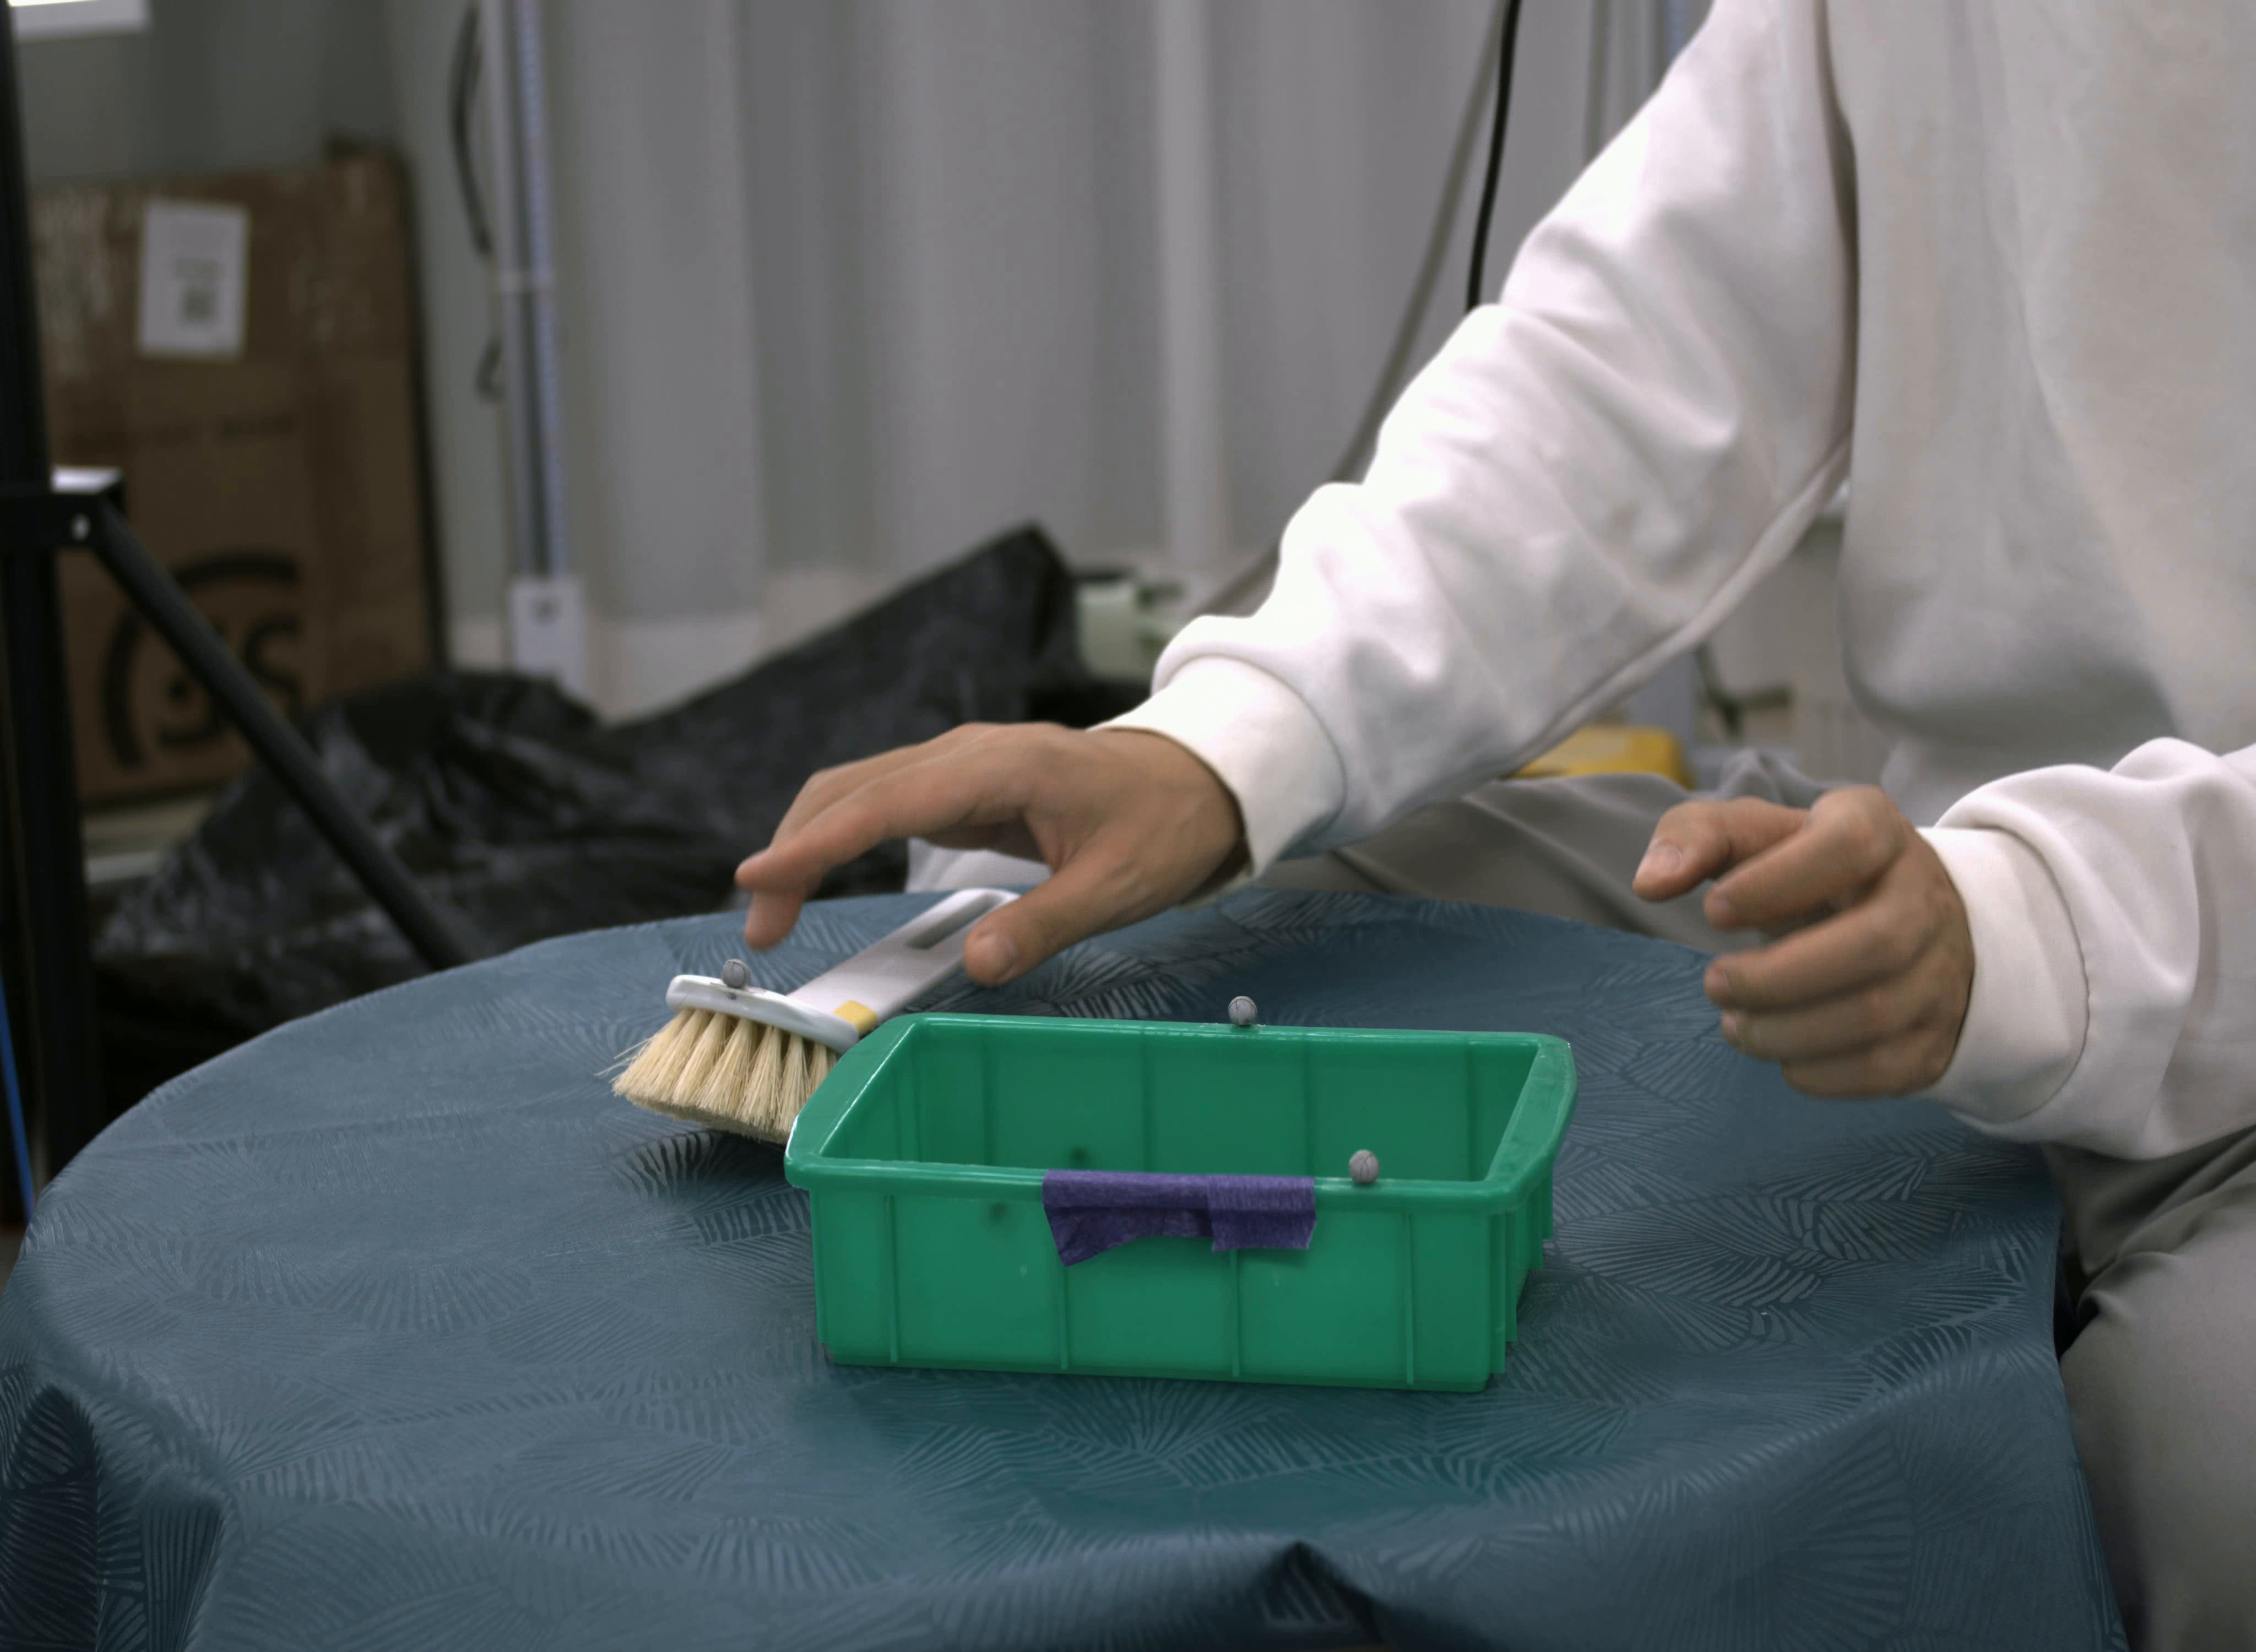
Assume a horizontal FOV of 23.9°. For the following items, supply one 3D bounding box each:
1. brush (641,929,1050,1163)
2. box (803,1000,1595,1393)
[{"bbox_3d":[-0.080,0.067,1.696,0.069,0.056,0.263,26,8,14],"label":"brush"},{"bbox_3d":[0.021,0.102,1.464,0.211,0.065,0.138,3,17,12],"label":"box"}]
